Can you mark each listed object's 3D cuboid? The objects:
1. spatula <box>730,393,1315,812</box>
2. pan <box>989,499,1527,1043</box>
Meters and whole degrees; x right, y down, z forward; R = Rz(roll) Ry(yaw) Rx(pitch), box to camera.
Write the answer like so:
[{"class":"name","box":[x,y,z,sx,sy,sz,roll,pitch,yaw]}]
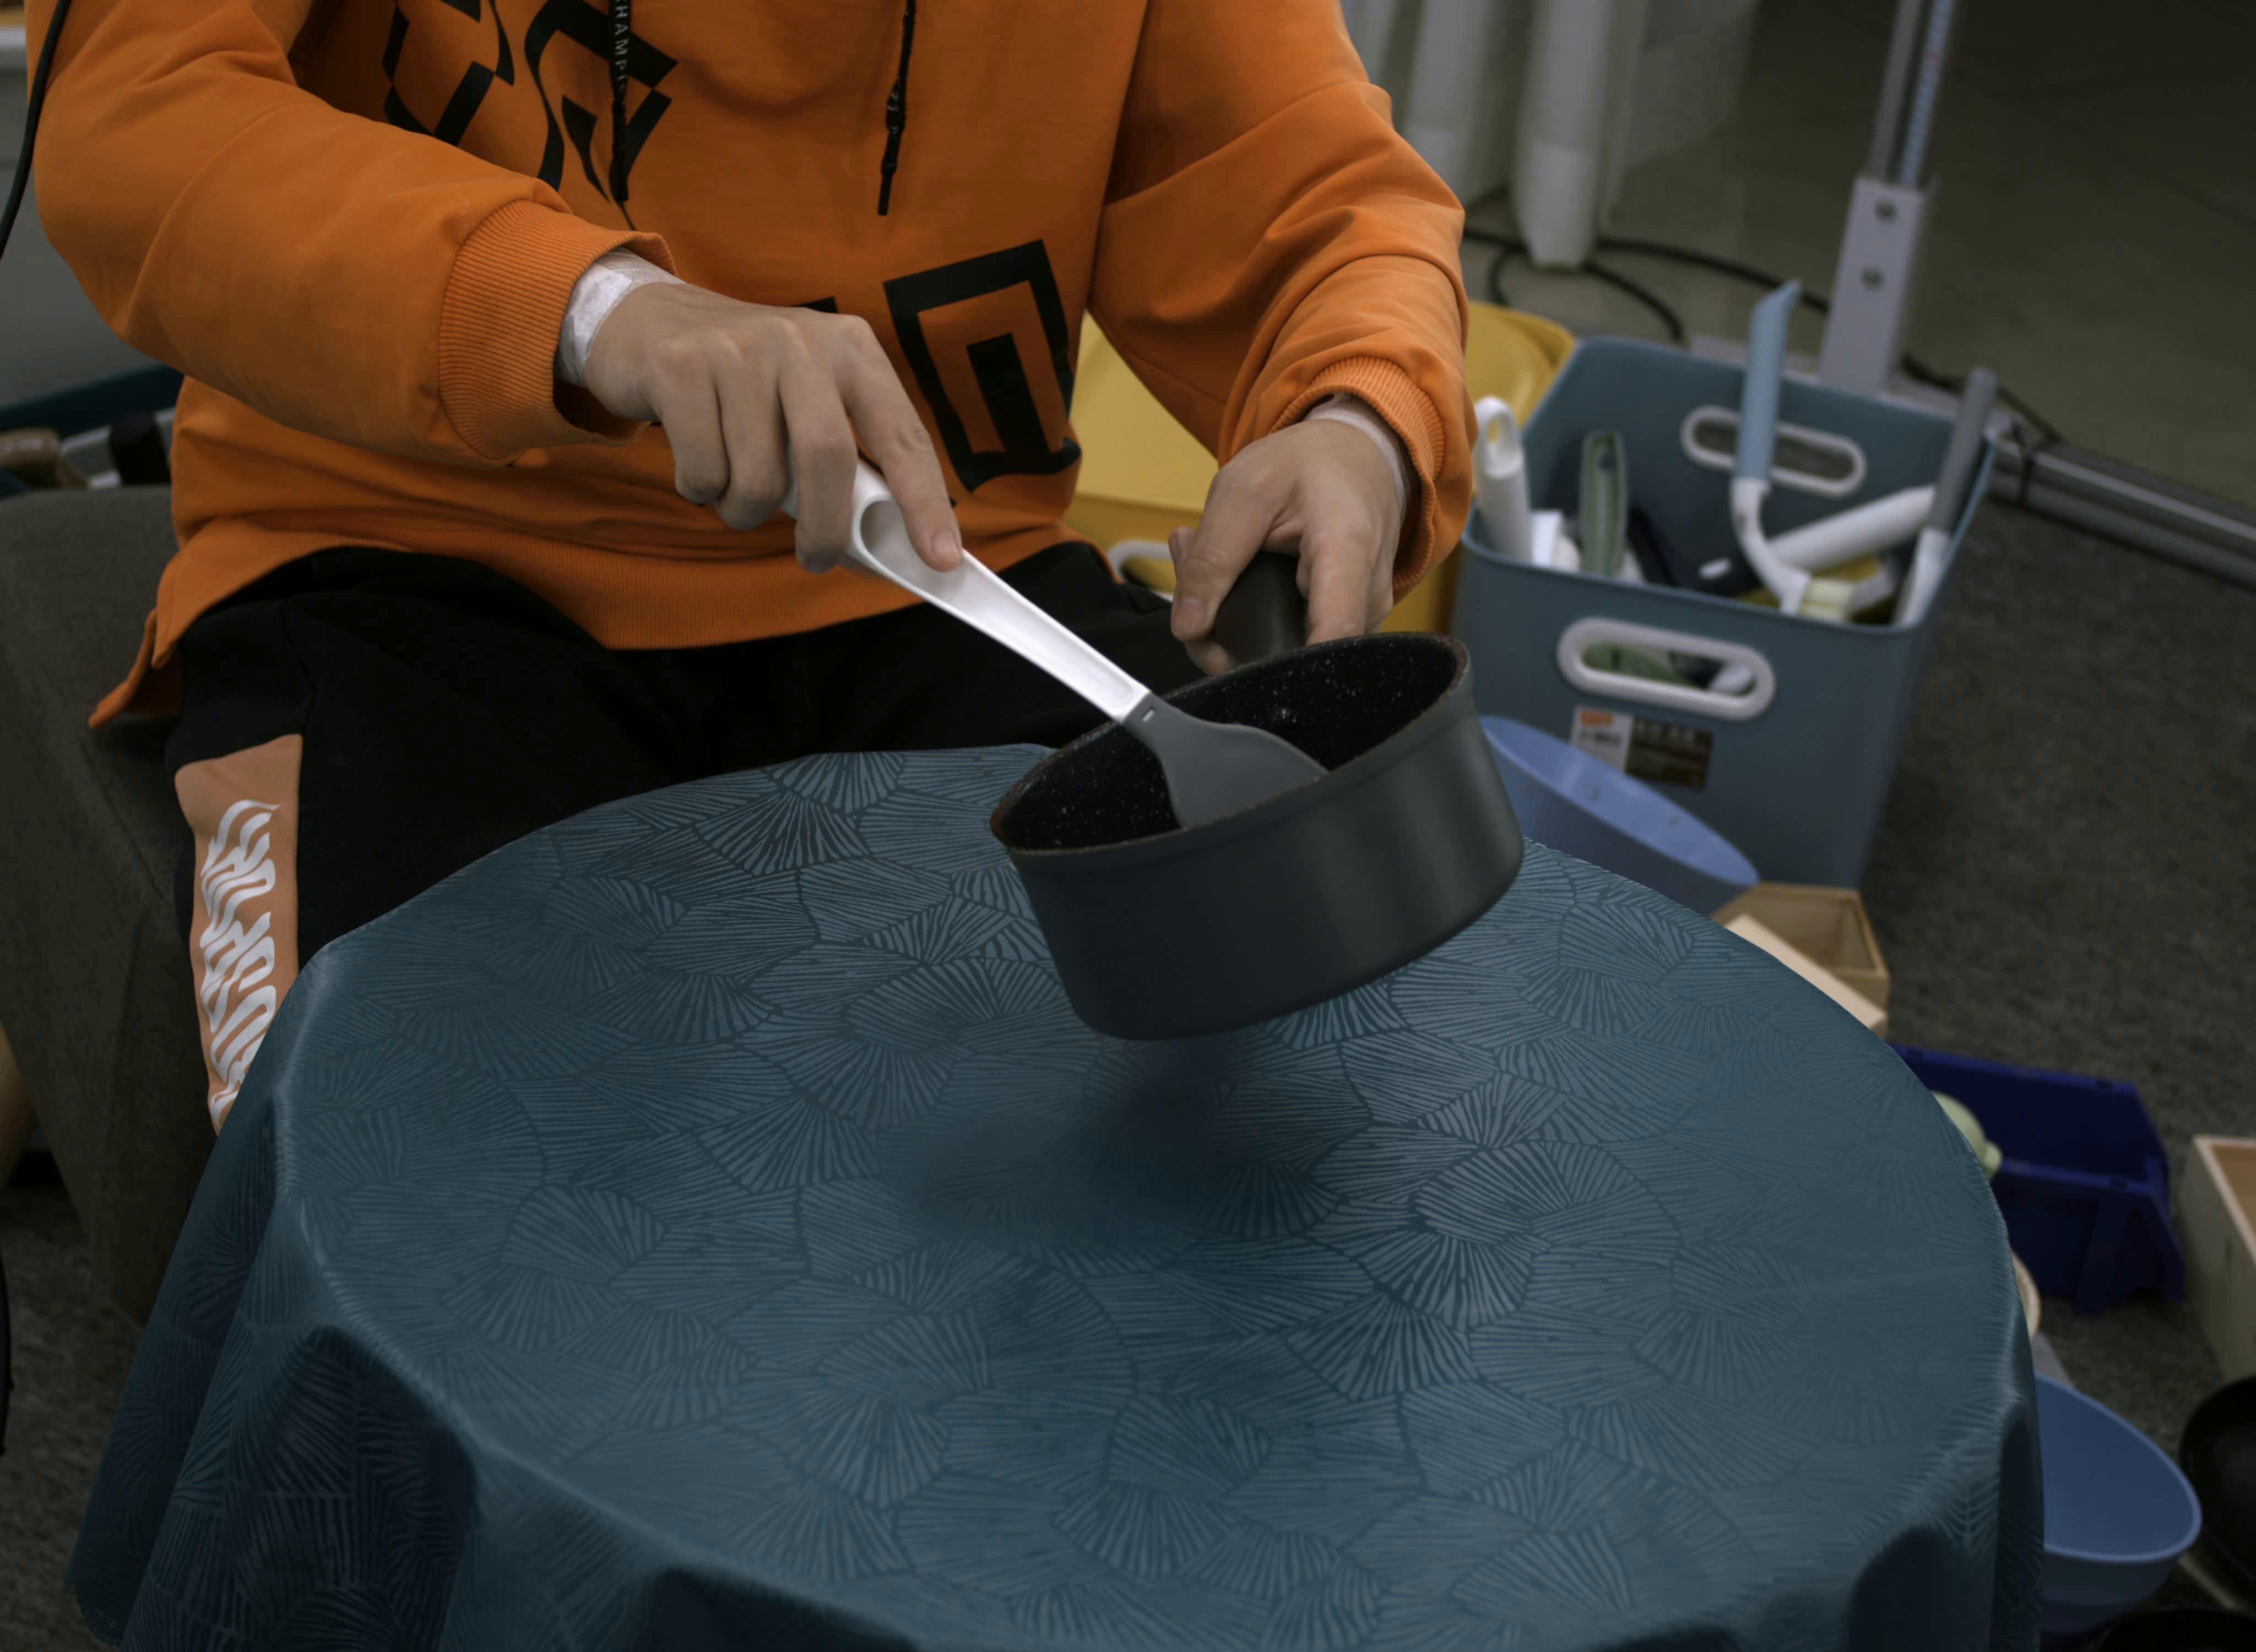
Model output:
[{"class":"spatula","box":[-0.021,-0.055,1.806,0.289,0.032,0.059,37,73,19]},{"class":"pan","box":[0.052,-0.025,1.860,0.172,0.086,0.330,-17,18,12]}]
